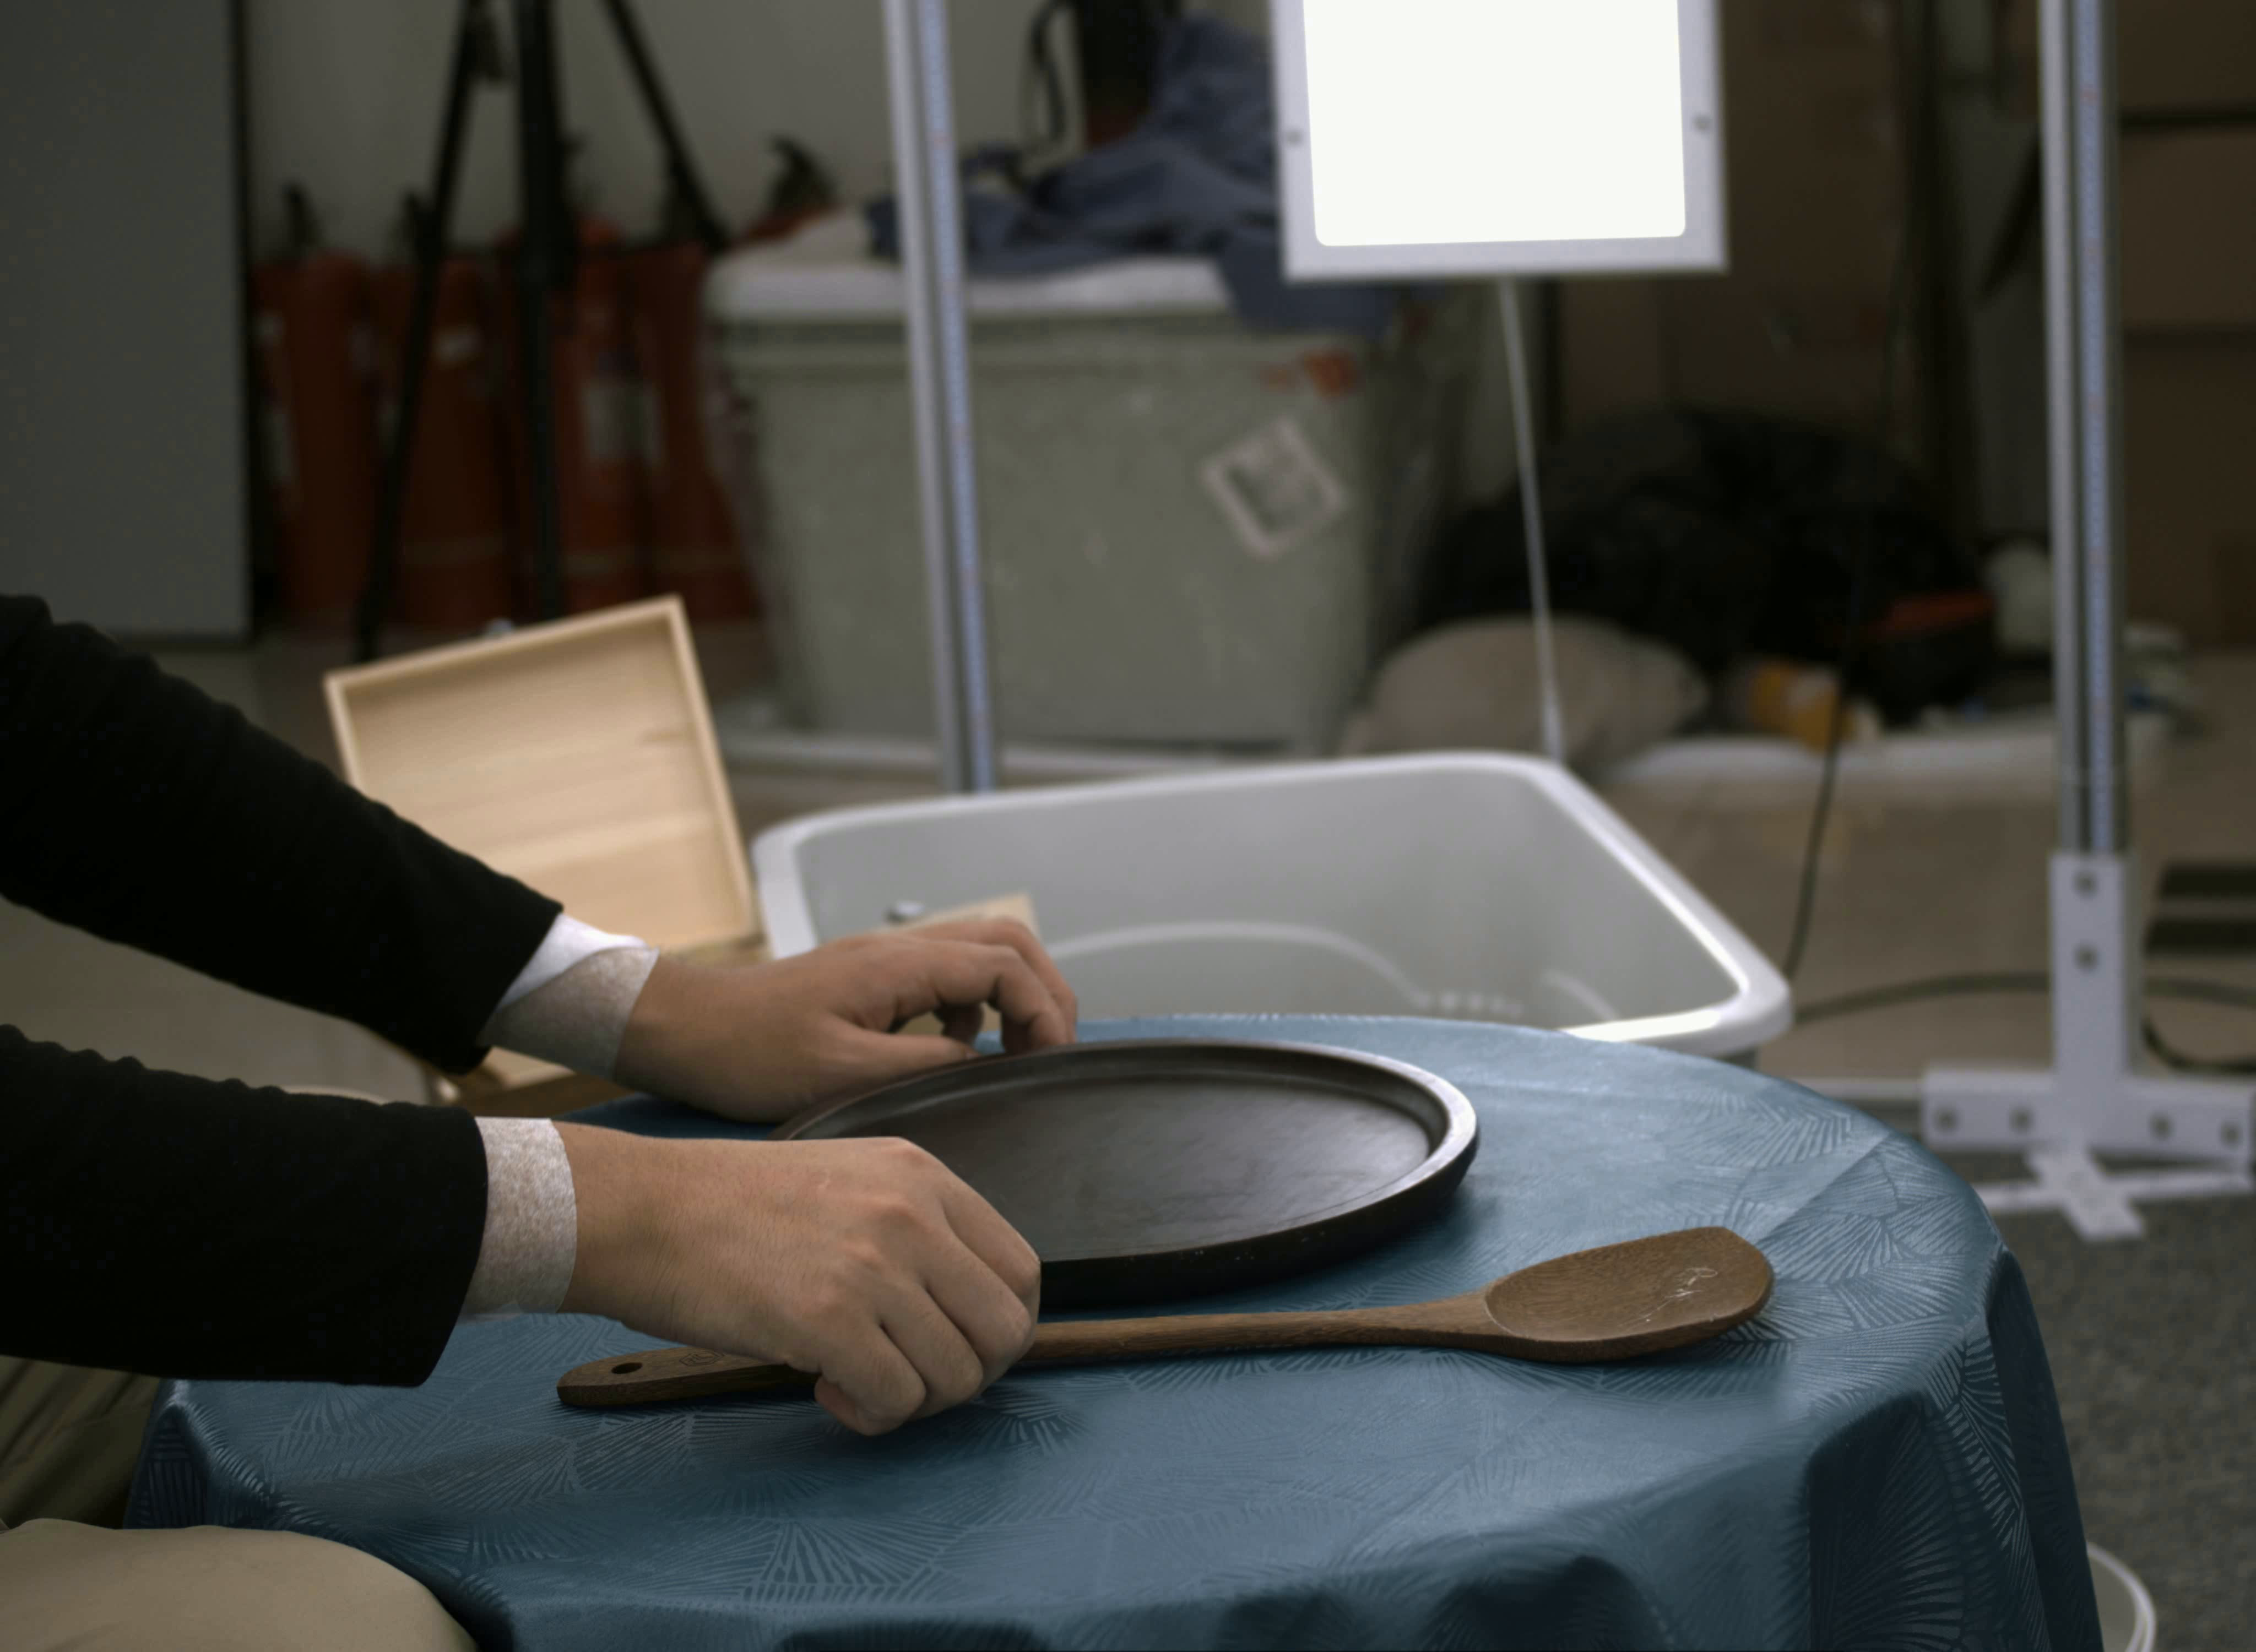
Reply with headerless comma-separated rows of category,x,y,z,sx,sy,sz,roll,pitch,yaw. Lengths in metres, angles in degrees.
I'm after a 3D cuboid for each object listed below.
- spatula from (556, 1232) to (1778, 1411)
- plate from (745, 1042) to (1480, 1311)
spatula,0.012,0.159,1.728,0.385,0.016,0.096,-5,13,3
plate,-0.005,0.117,1.887,0.254,0.029,0.254,-5,15,0
